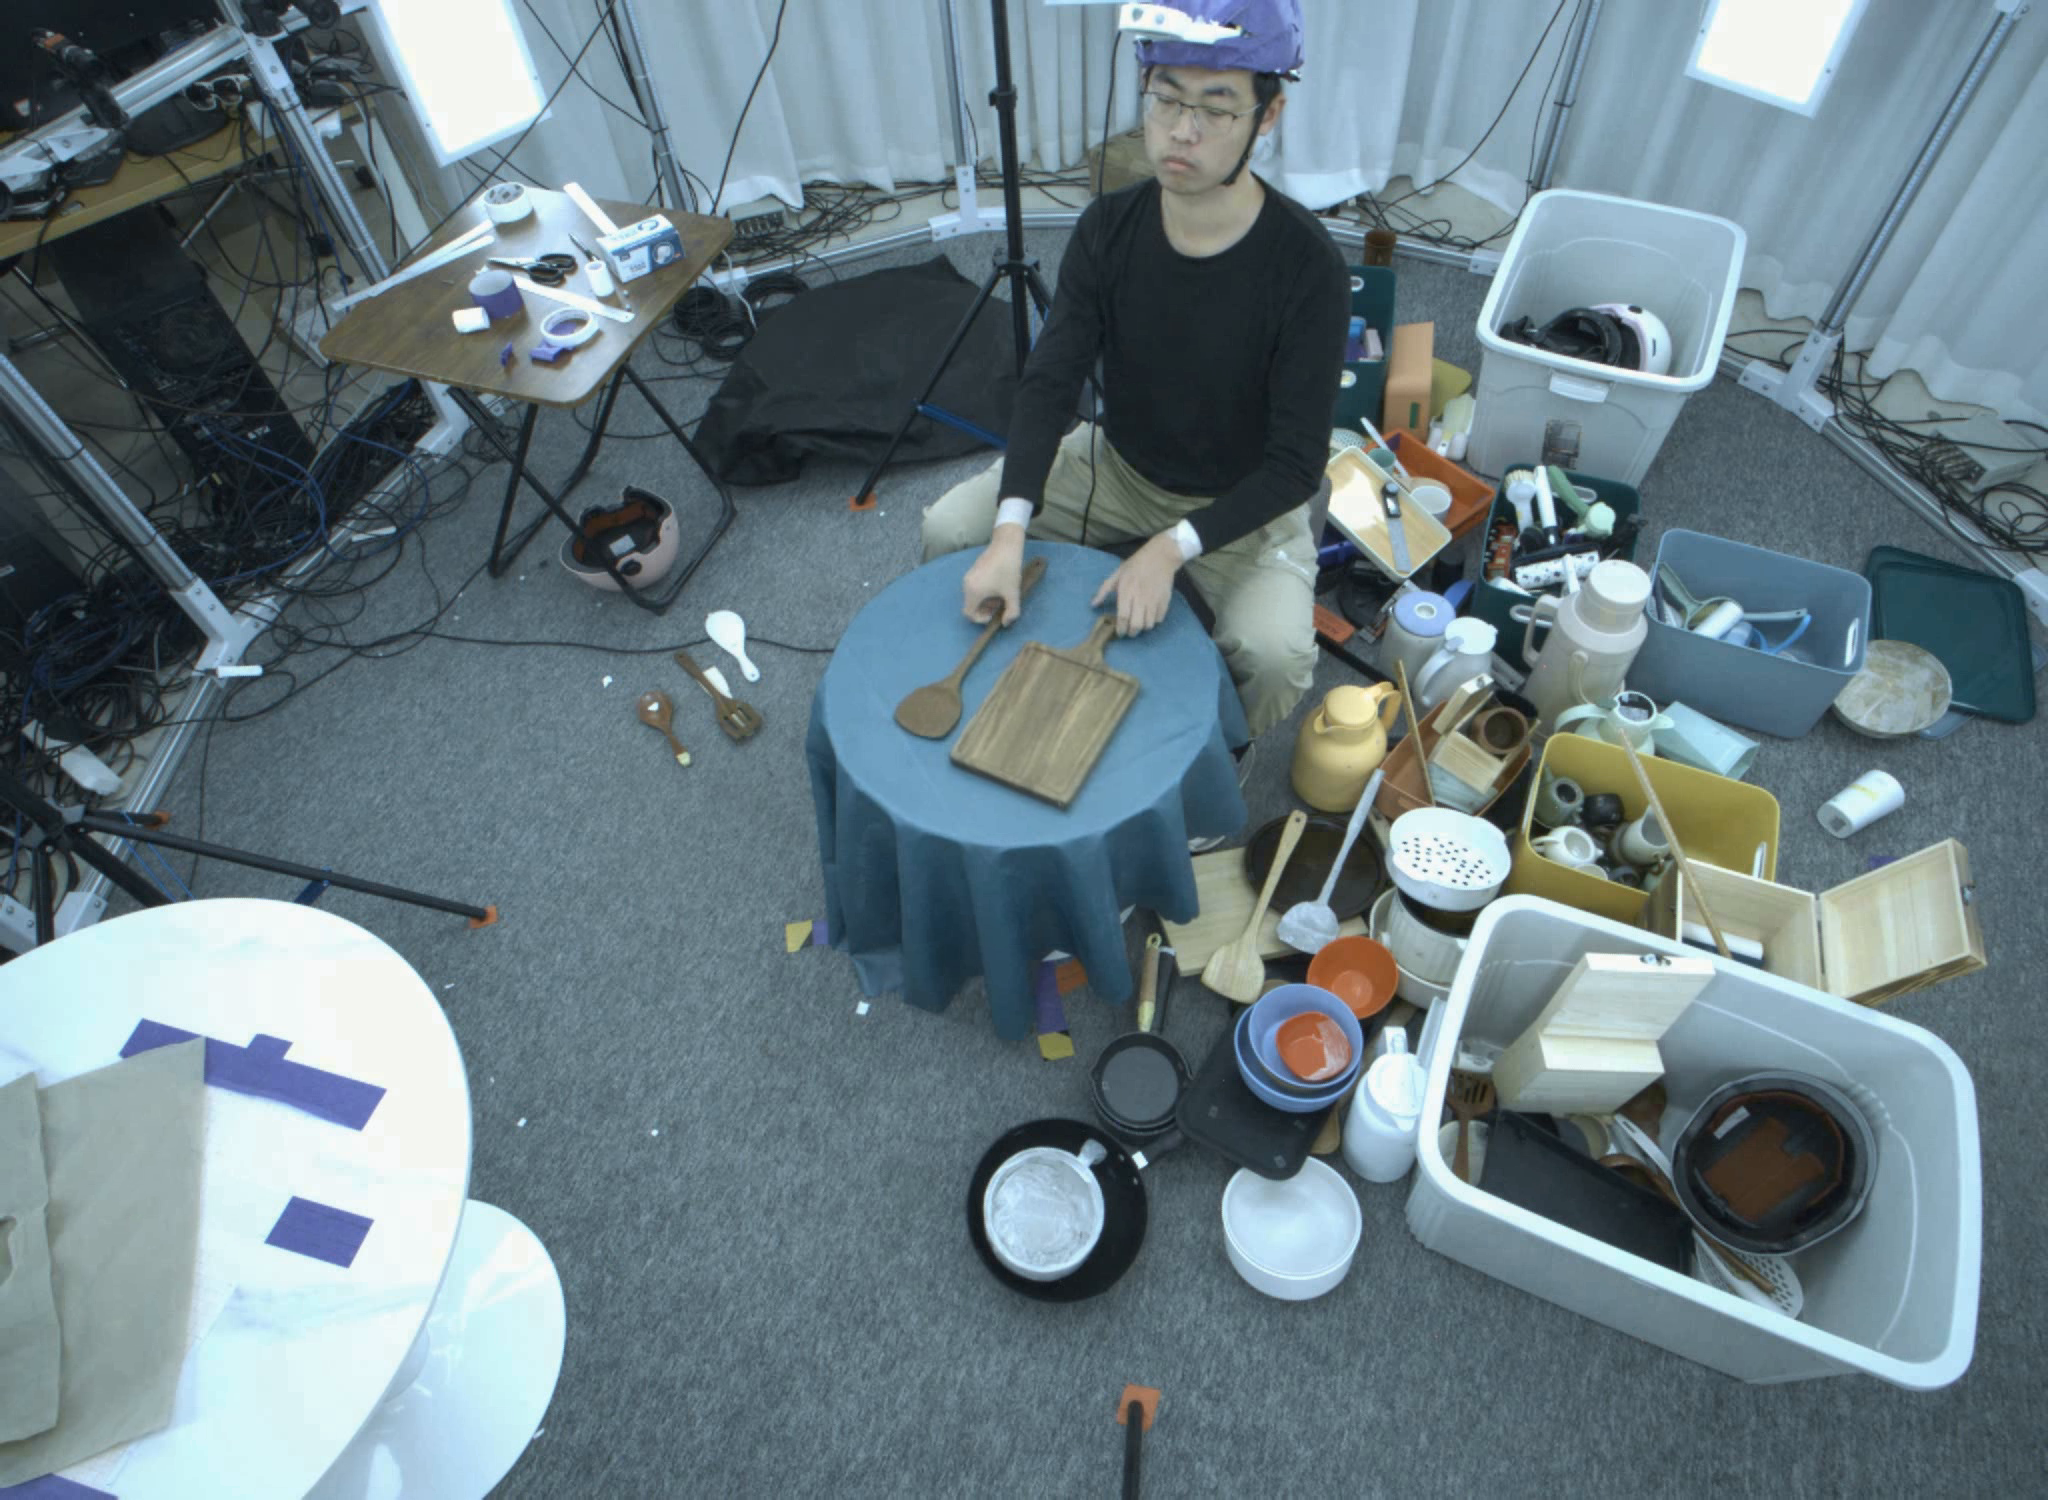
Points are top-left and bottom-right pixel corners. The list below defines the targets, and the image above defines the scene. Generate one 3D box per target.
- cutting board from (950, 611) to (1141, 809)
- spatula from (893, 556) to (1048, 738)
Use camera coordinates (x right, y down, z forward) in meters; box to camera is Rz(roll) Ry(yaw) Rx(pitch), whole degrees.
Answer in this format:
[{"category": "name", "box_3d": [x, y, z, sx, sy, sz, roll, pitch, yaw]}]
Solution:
[{"category": "cutting board", "box_3d": [0.057, -0.080, 1.830, 0.198, 0.023, 0.353, 22, 59, 16]}, {"category": "spatula", "box_3d": [-0.067, -0.169, 1.891, 0.095, 0.016, 0.387, 26, 63, 17]}]
